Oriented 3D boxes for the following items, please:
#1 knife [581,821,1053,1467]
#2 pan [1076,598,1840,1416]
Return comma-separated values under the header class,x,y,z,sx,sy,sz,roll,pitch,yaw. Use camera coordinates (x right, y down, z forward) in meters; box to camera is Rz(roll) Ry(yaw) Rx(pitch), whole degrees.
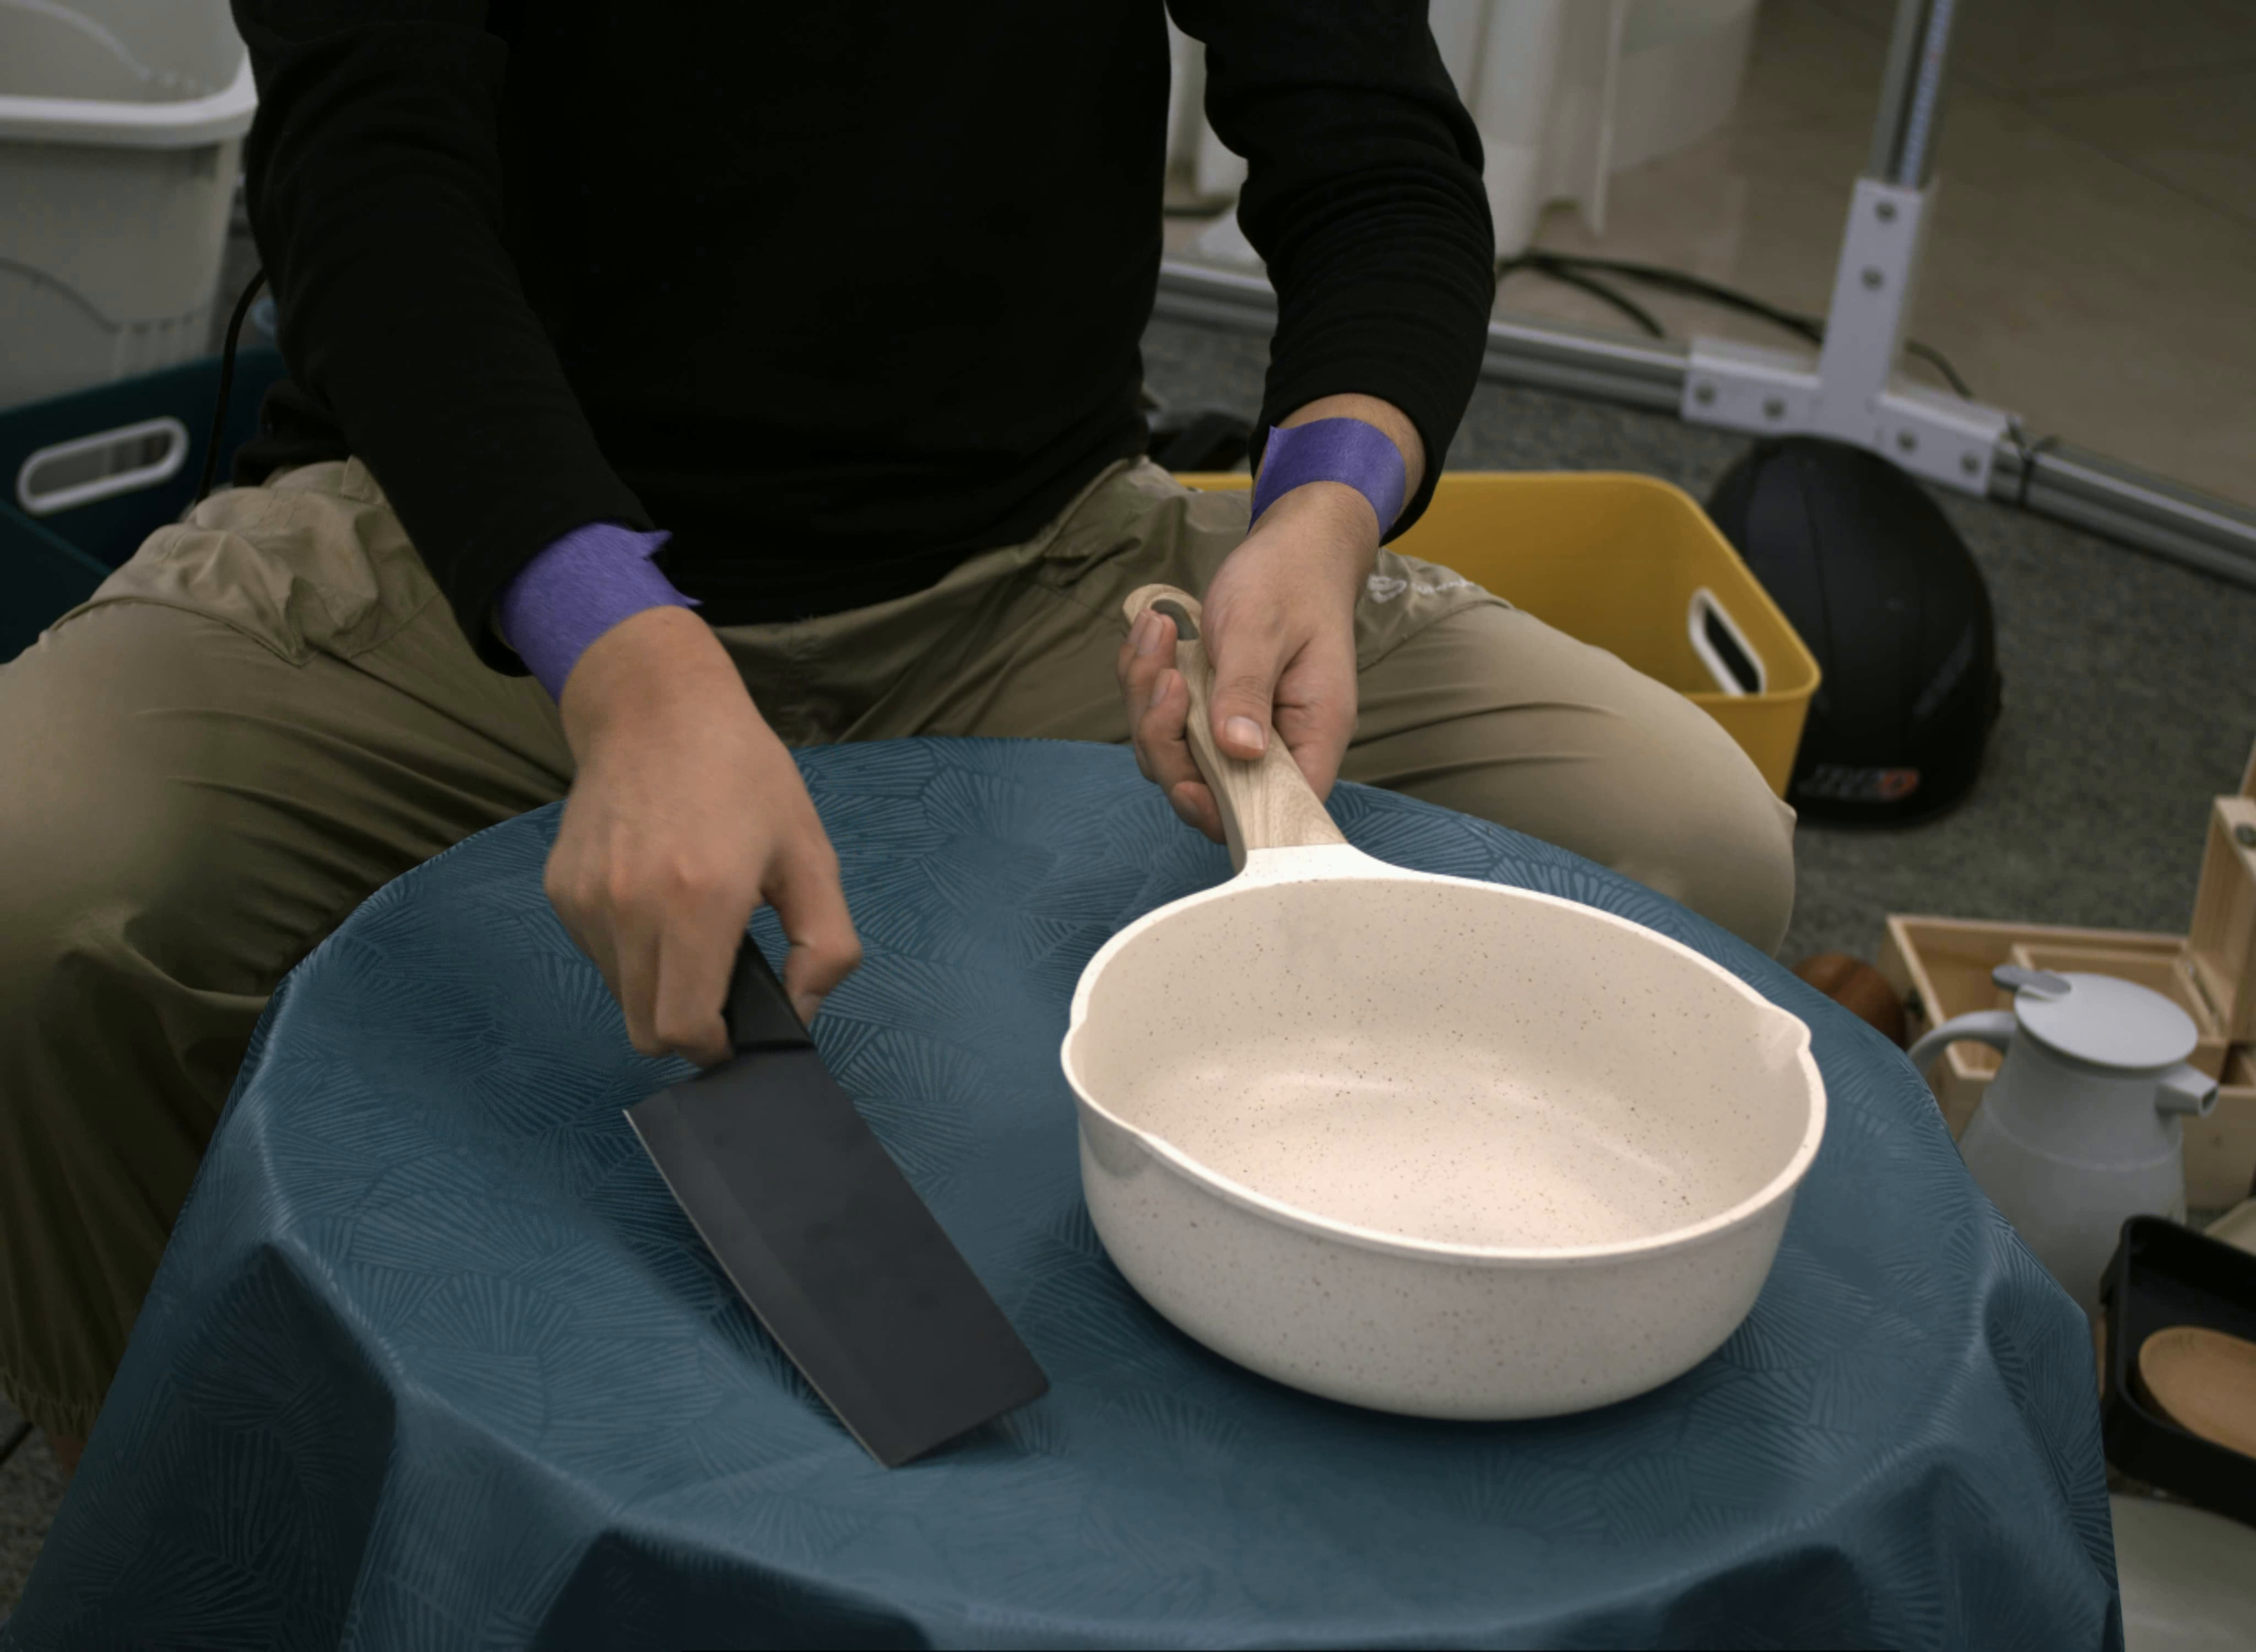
class,x,y,z,sx,sy,sz,roll,pitch,yaw
knife,-0.117,0.098,1.747,0.080,0.021,0.305,-19,46,-14
pan,0.076,0.059,1.840,0.262,0.101,0.439,-5,29,-19
